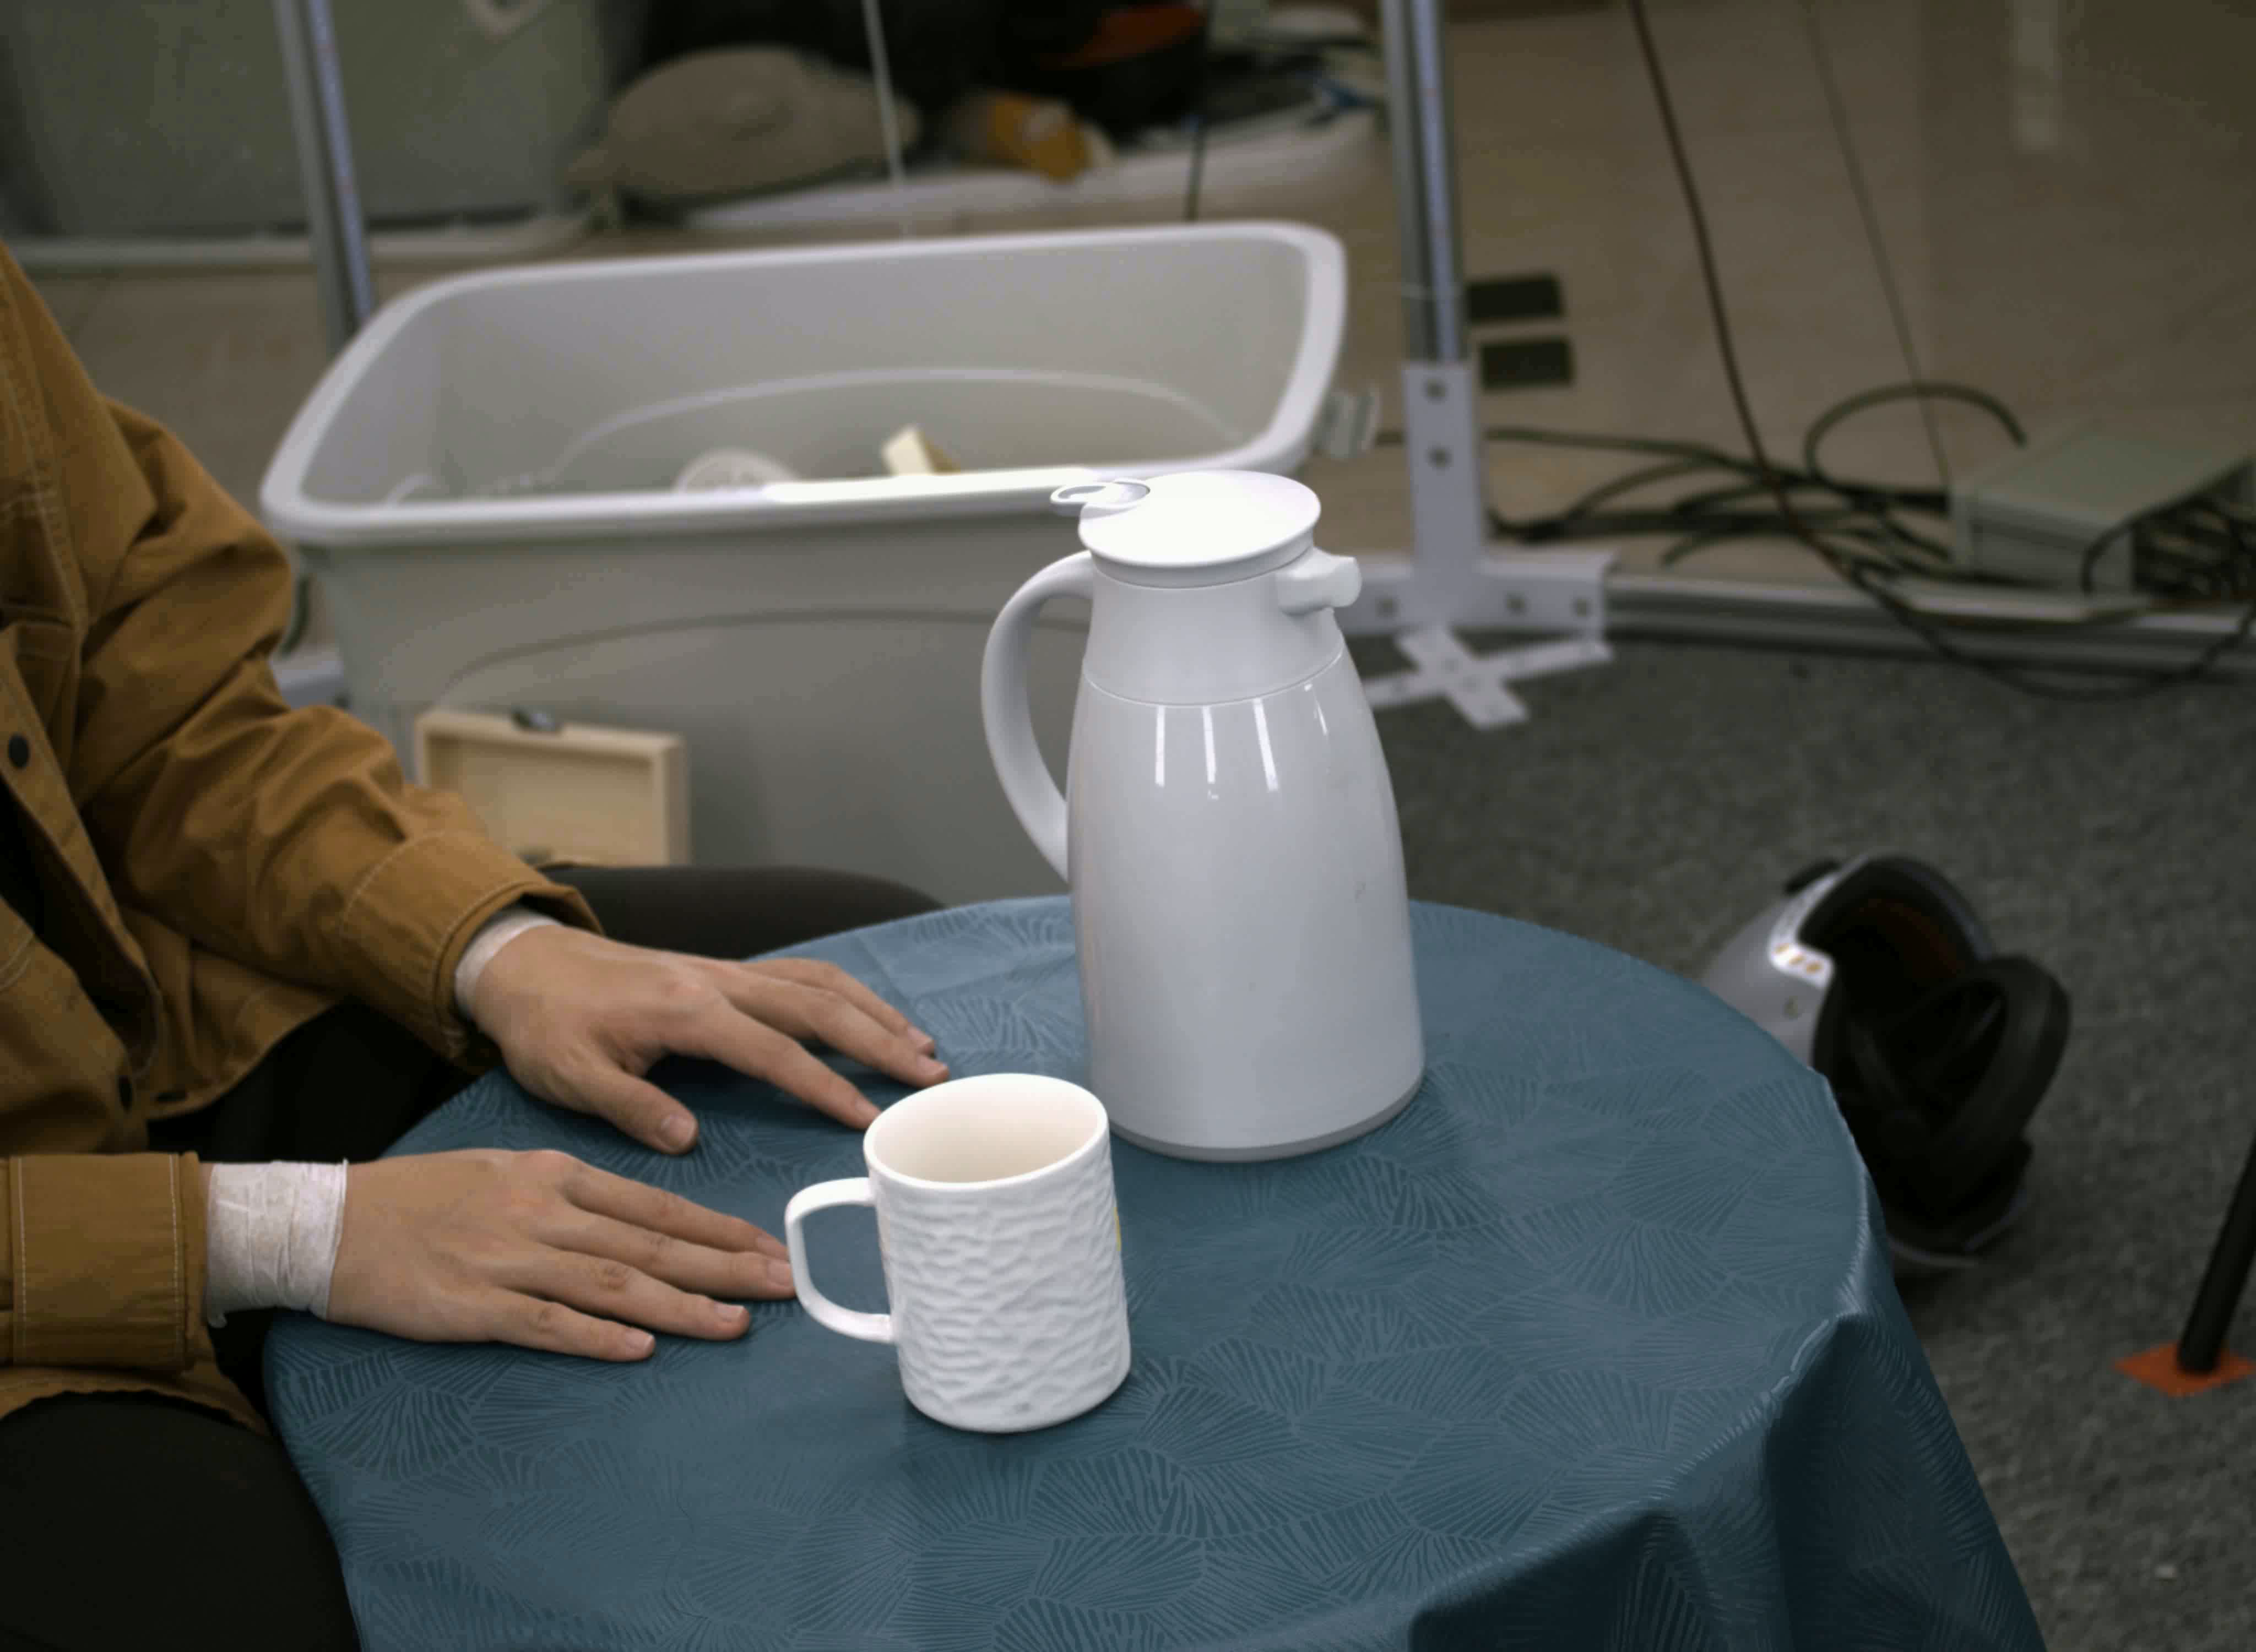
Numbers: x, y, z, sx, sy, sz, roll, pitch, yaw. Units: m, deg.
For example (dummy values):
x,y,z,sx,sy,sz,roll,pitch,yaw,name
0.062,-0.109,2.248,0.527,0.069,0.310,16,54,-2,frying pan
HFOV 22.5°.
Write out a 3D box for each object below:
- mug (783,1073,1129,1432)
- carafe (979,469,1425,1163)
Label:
x,y,z,sx,sy,sz,roll,pitch,yaw,name
-0.061,0.153,2.010,0.118,0.103,0.083,-6,25,0,mug
0.021,-0.013,2.171,0.167,0.252,0.131,8,30,29,carafe
